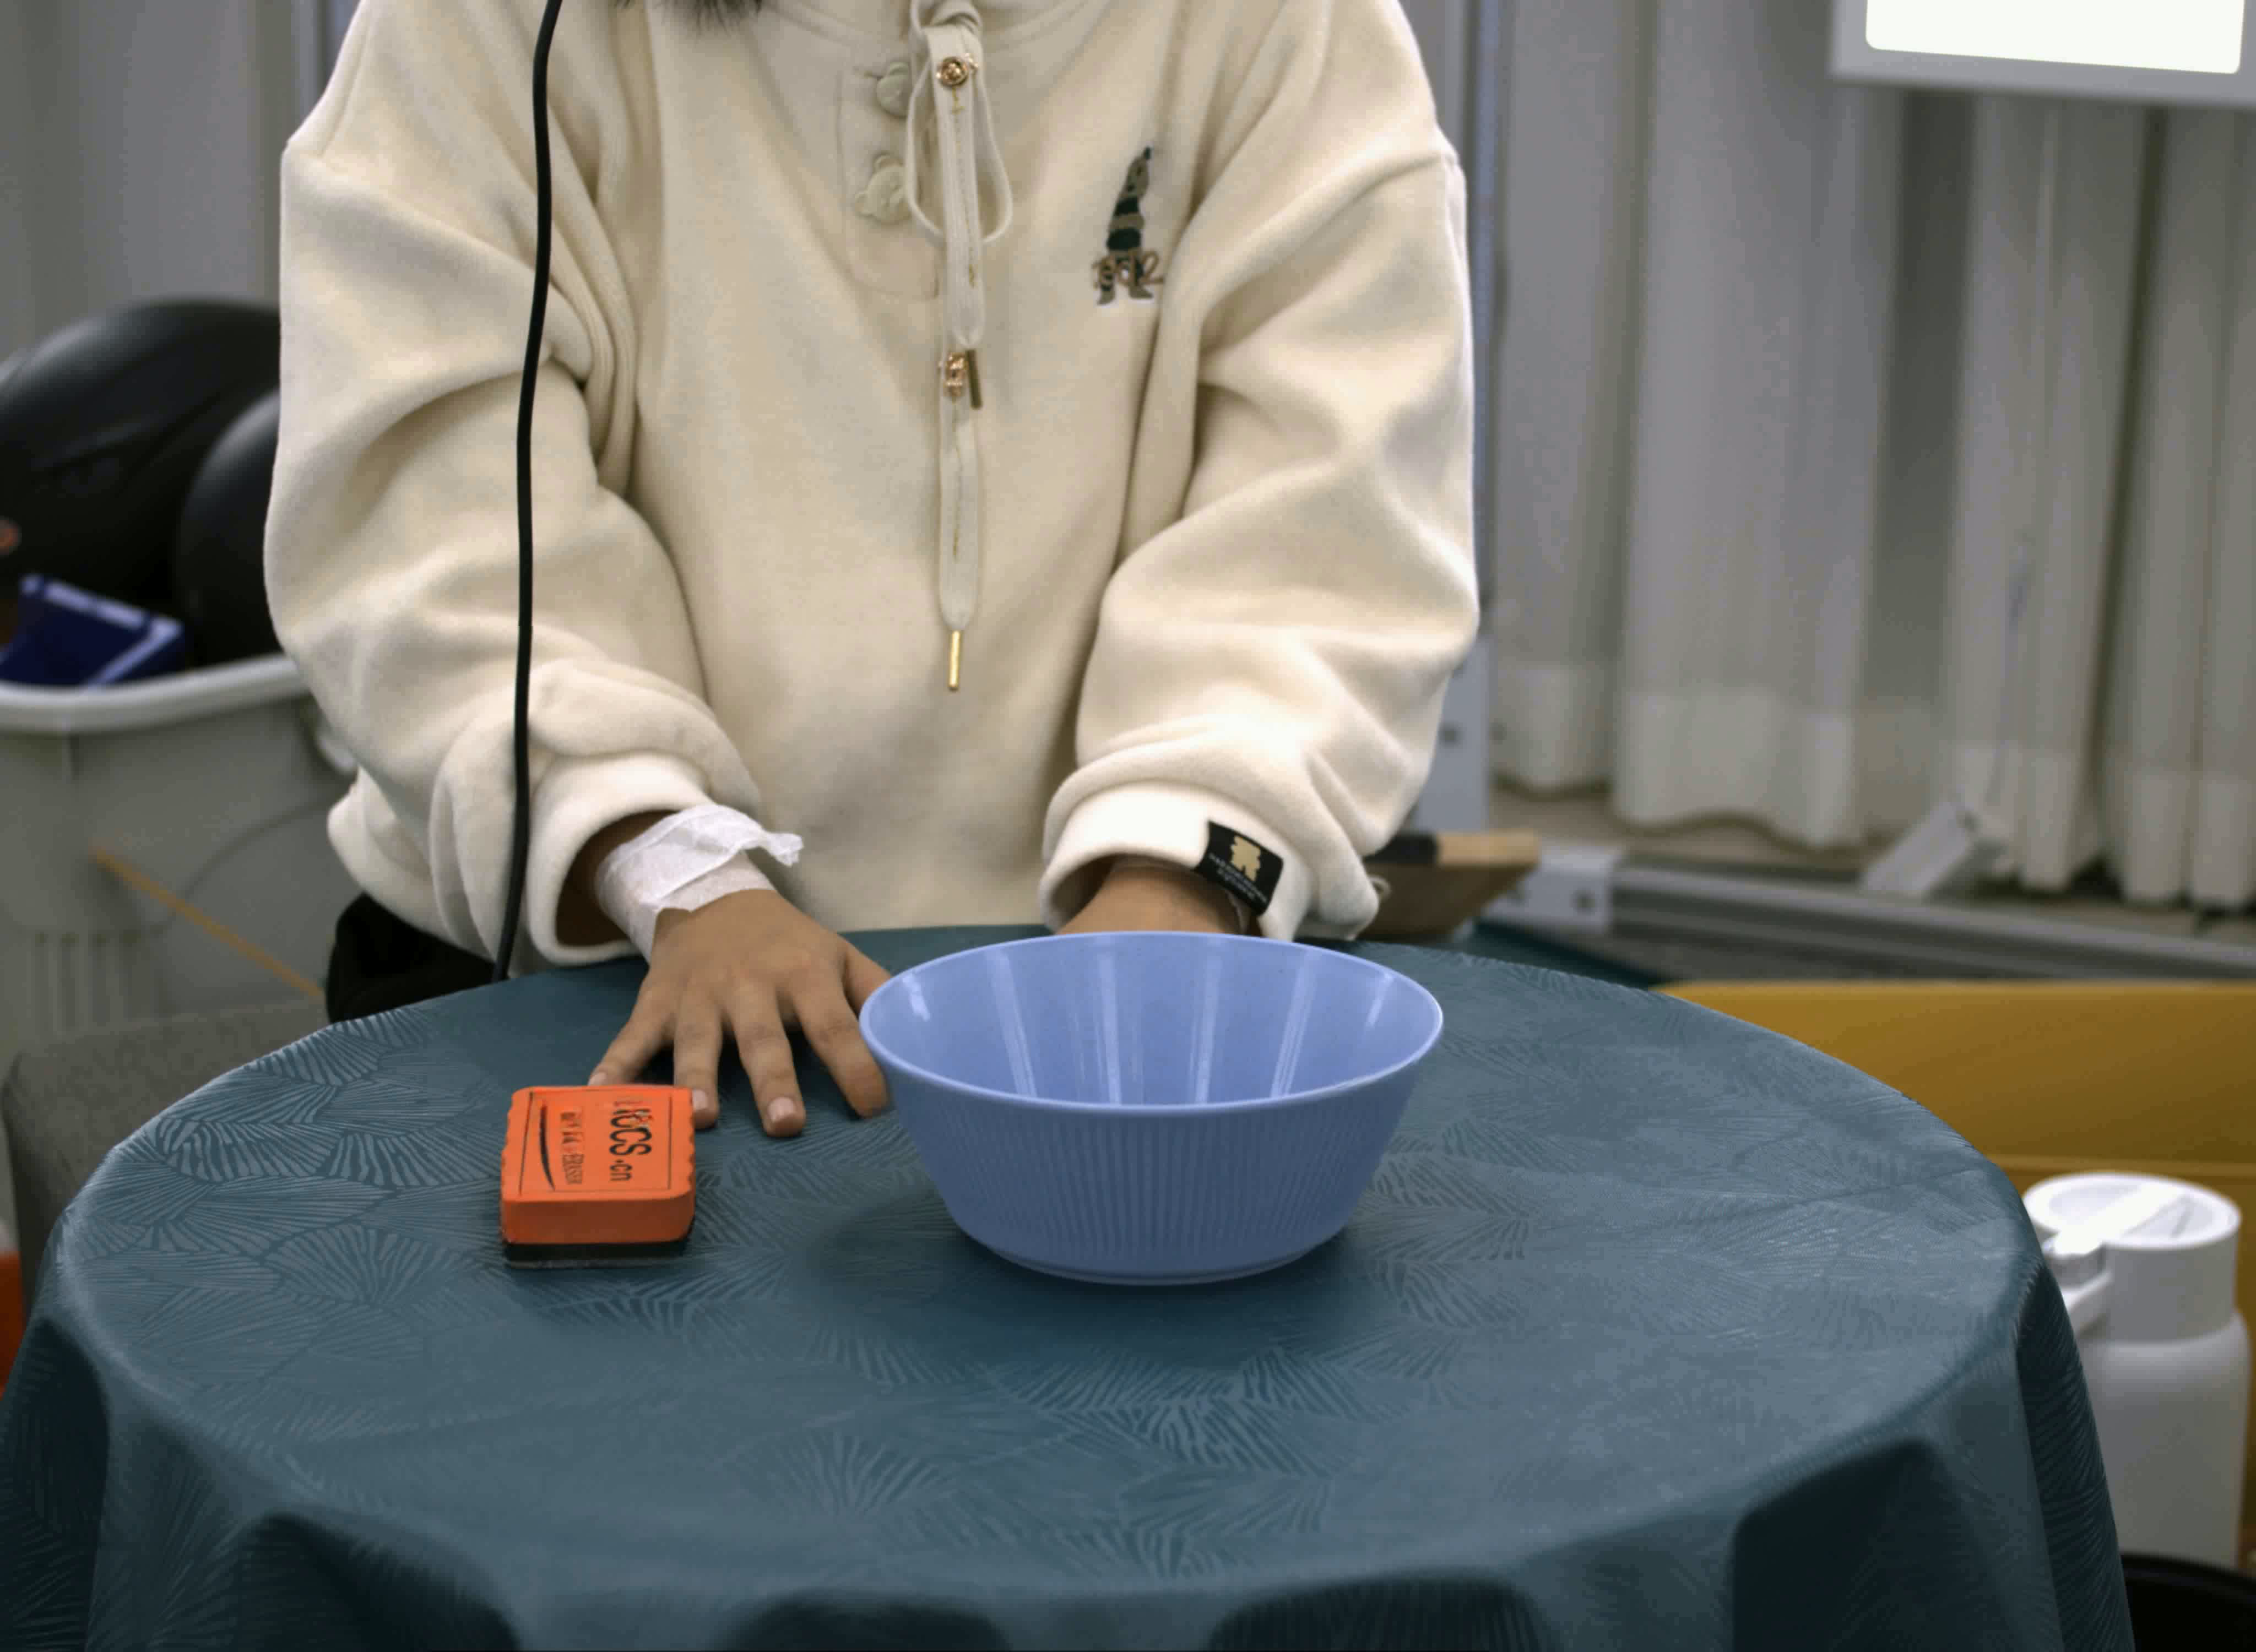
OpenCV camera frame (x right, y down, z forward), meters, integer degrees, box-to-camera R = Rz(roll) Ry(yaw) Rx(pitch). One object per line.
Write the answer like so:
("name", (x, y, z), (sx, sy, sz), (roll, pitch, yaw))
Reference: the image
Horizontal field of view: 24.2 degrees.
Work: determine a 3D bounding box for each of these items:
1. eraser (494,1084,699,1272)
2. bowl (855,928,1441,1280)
("eraser", (-0.160, 0.106, 1.597), (0.059, 0.023, 0.107), (-3, 16, -3))
("bowl", (0.006, 0.086, 1.582), (0.175, 0.071, 0.175), (1, 16, 0))
